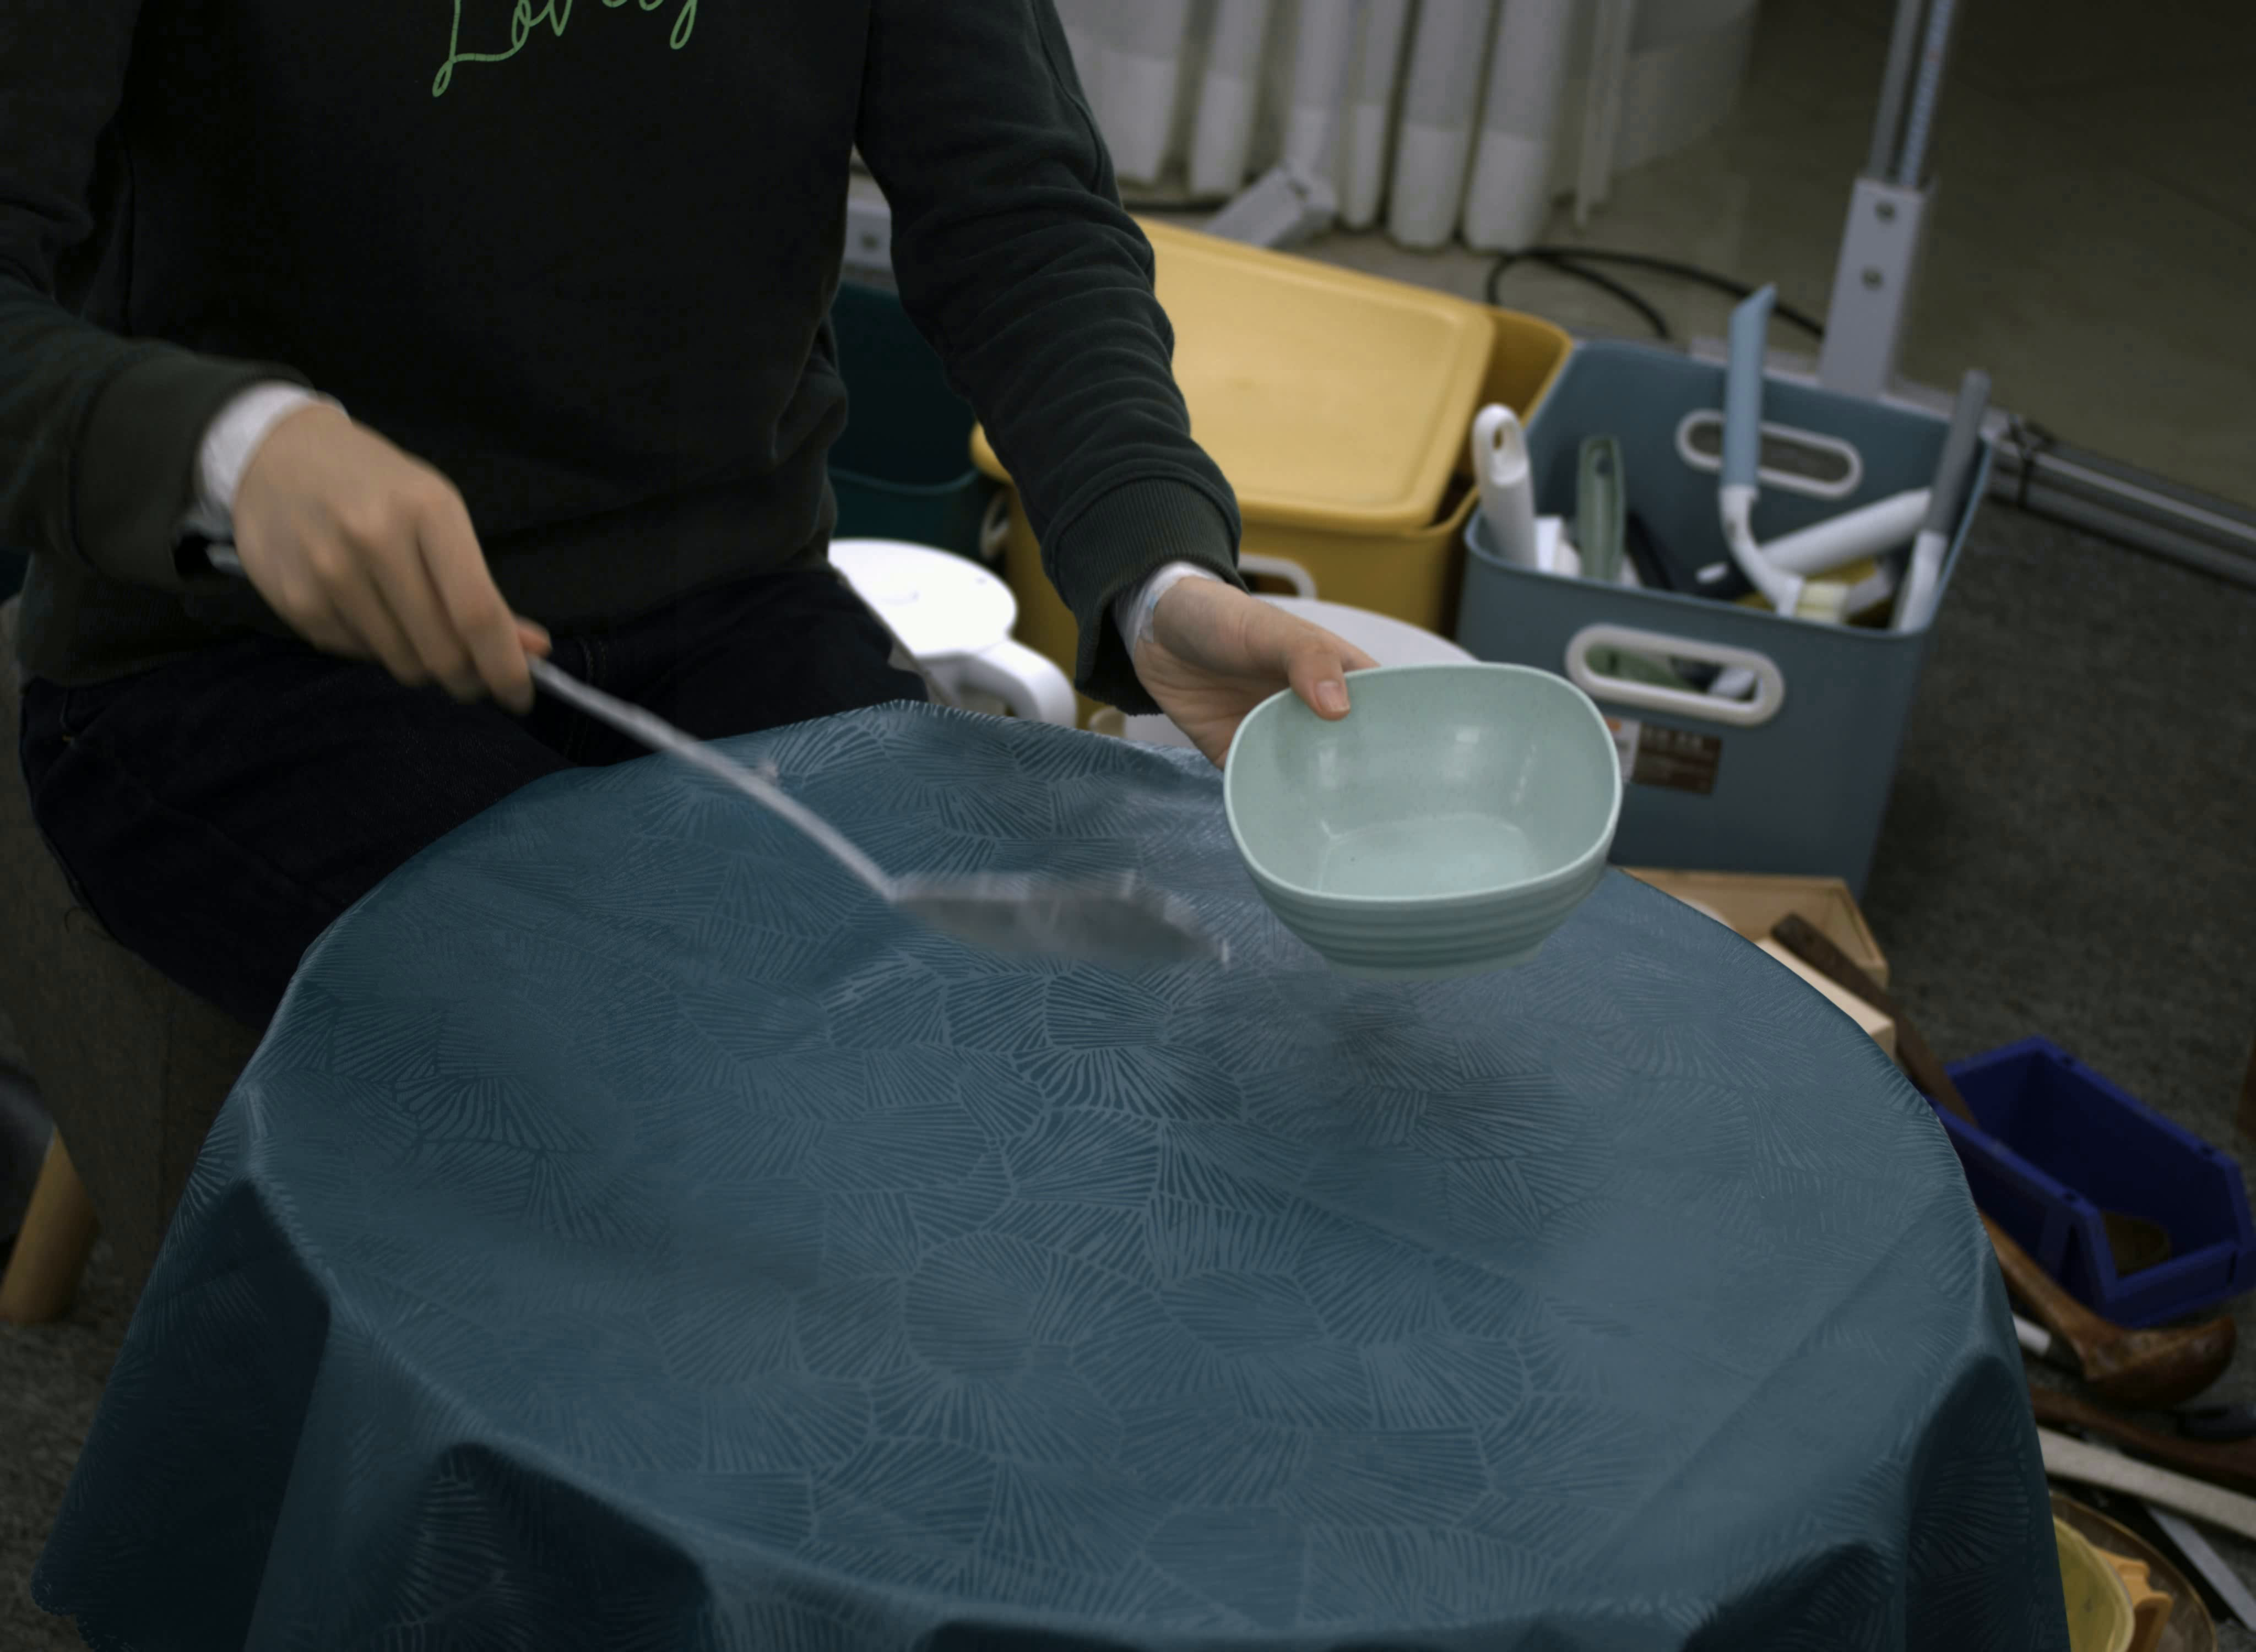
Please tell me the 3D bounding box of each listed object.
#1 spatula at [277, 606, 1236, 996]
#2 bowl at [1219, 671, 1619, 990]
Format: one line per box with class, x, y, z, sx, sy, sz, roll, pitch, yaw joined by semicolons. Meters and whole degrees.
spatula;-0.131;-0.015;1.699;0.367;0.045;0.098;27;-1;24
bowl;0.102;0.009;1.866;0.151;0.058;0.152;-3;37;2
